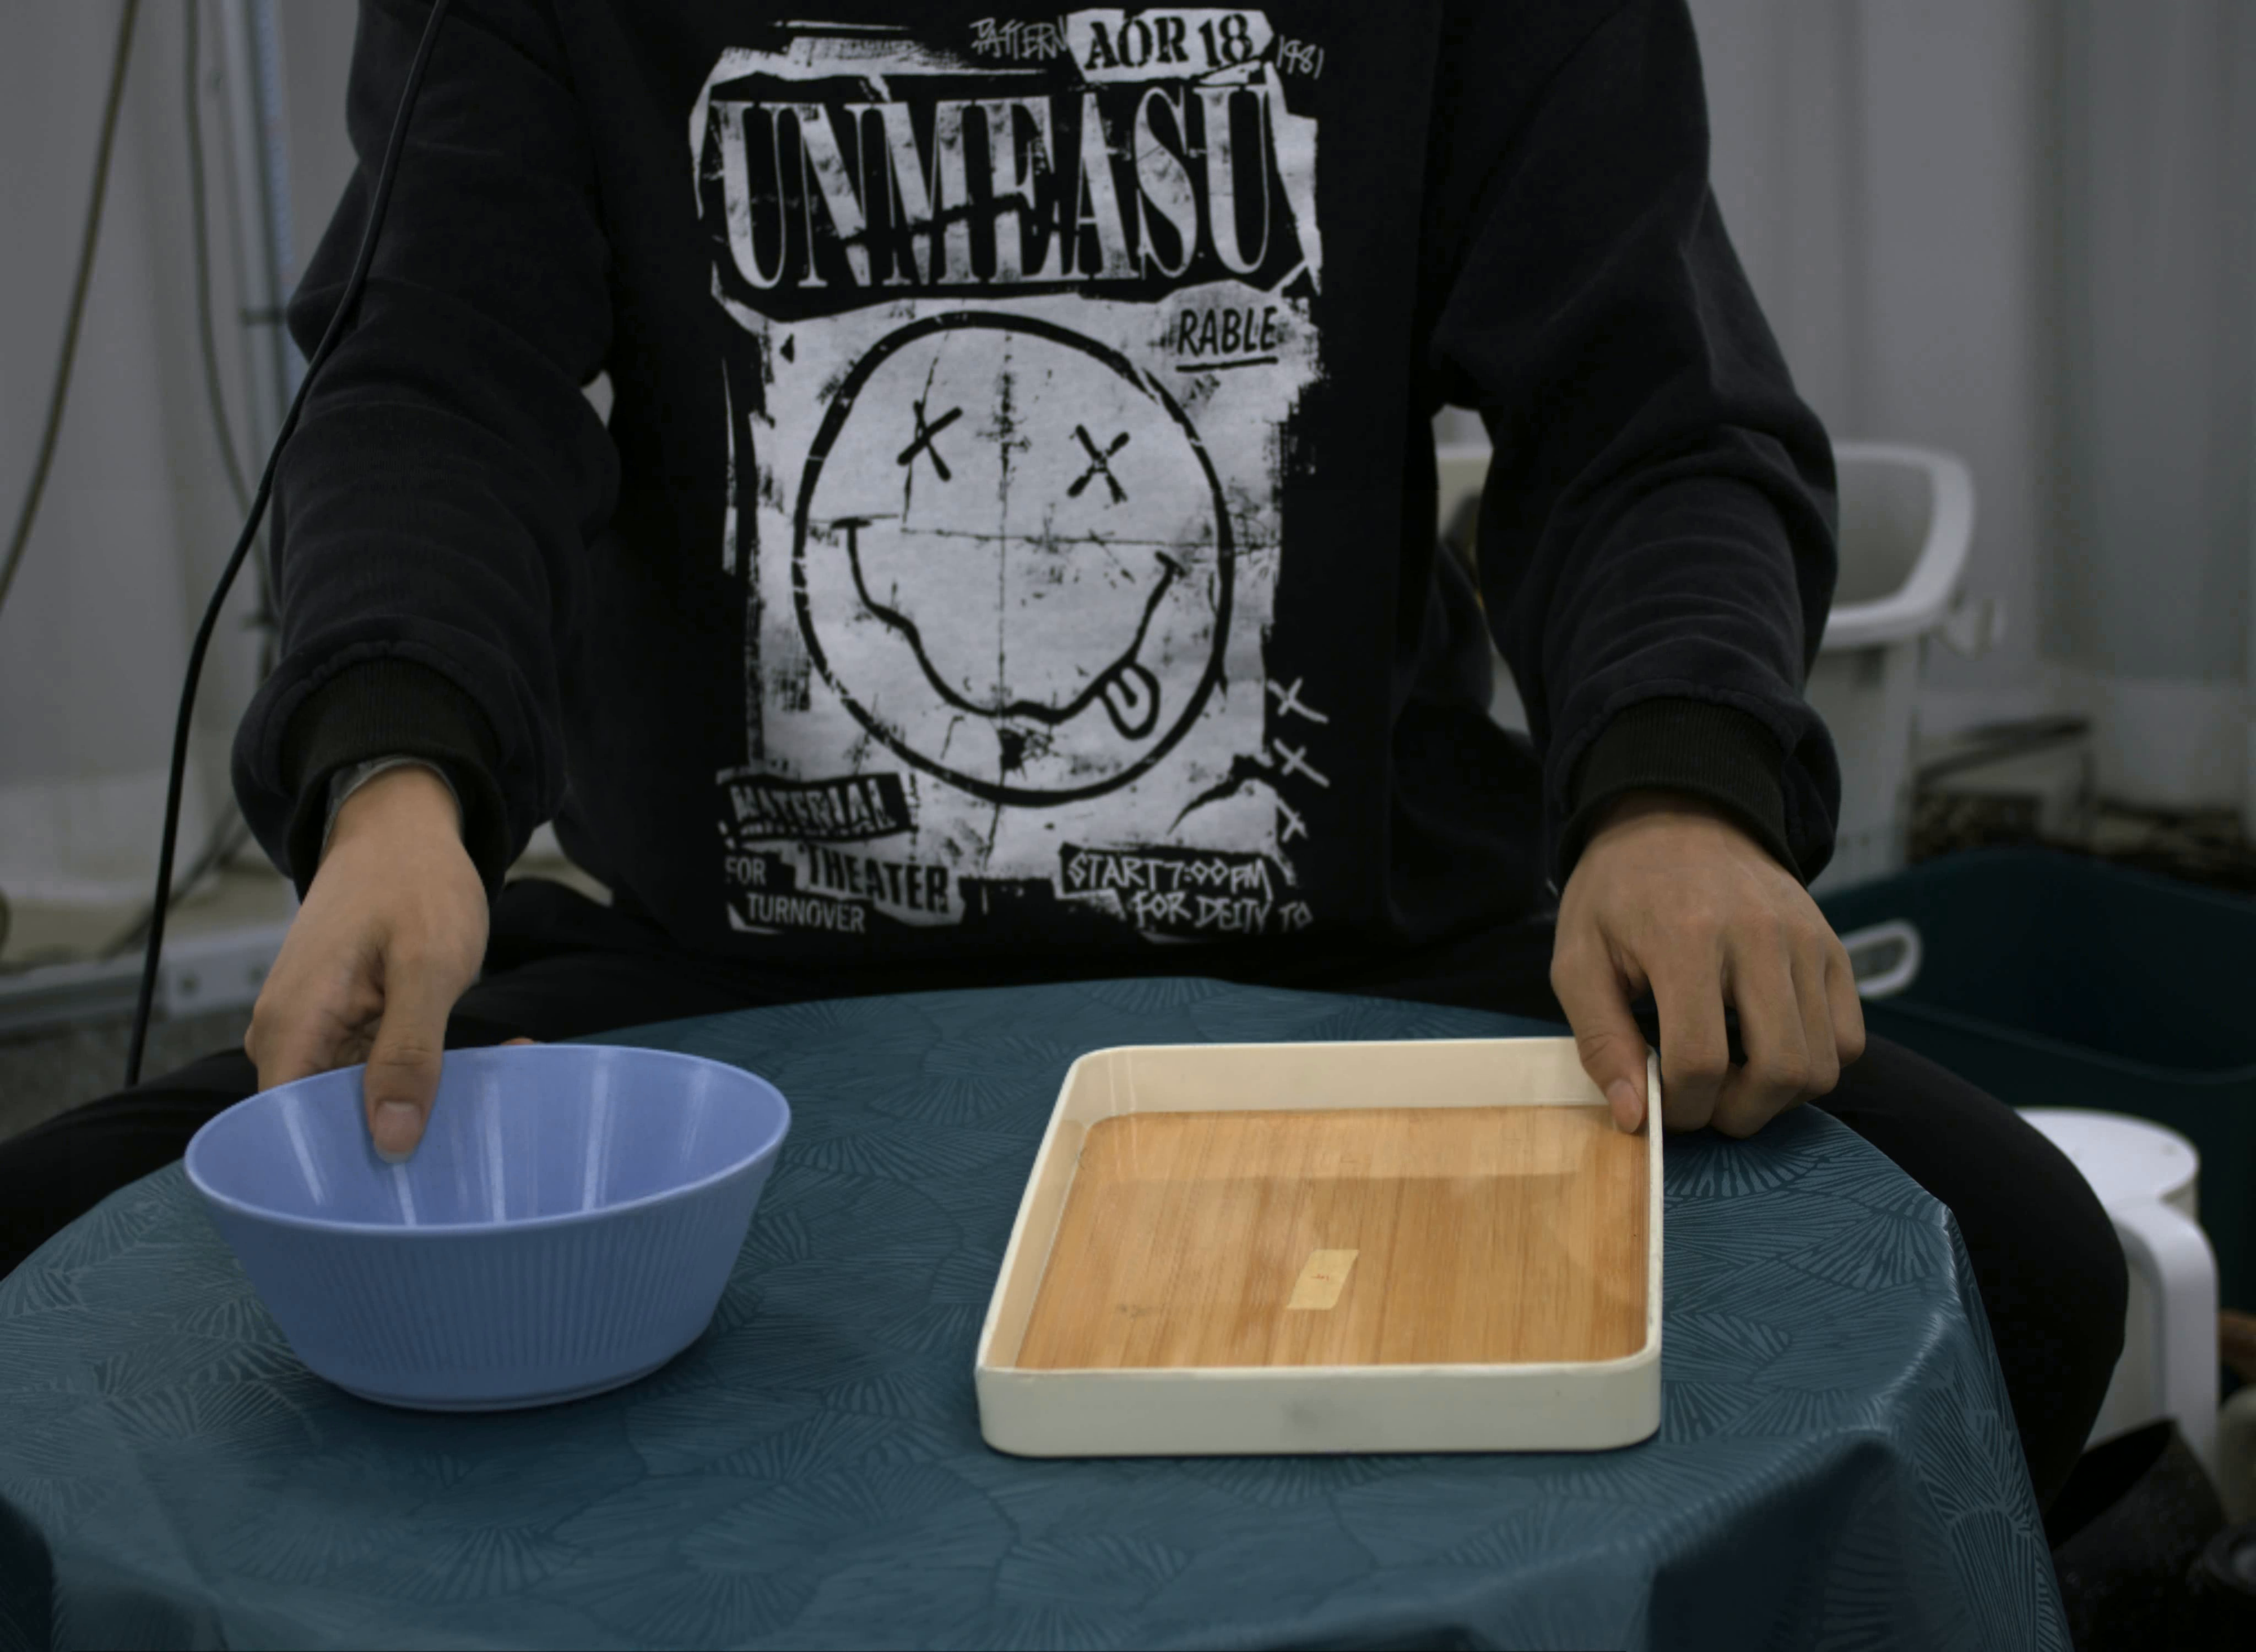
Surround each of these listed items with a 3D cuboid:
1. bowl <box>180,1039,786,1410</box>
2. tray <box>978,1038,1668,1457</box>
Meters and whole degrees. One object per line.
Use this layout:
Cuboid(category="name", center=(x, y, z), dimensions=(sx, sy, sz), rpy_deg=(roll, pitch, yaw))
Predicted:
Cuboid(category="bowl", center=(-0.186, 0.119, 1.595), dimensions=(0.175, 0.070, 0.177), rpy_deg=(-2, 15, 0))
Cuboid(category="tray", center=(0.064, 0.122, 1.626), dimensions=(0.191, 0.027, 0.302), rpy_deg=(-1, 15, 6))
